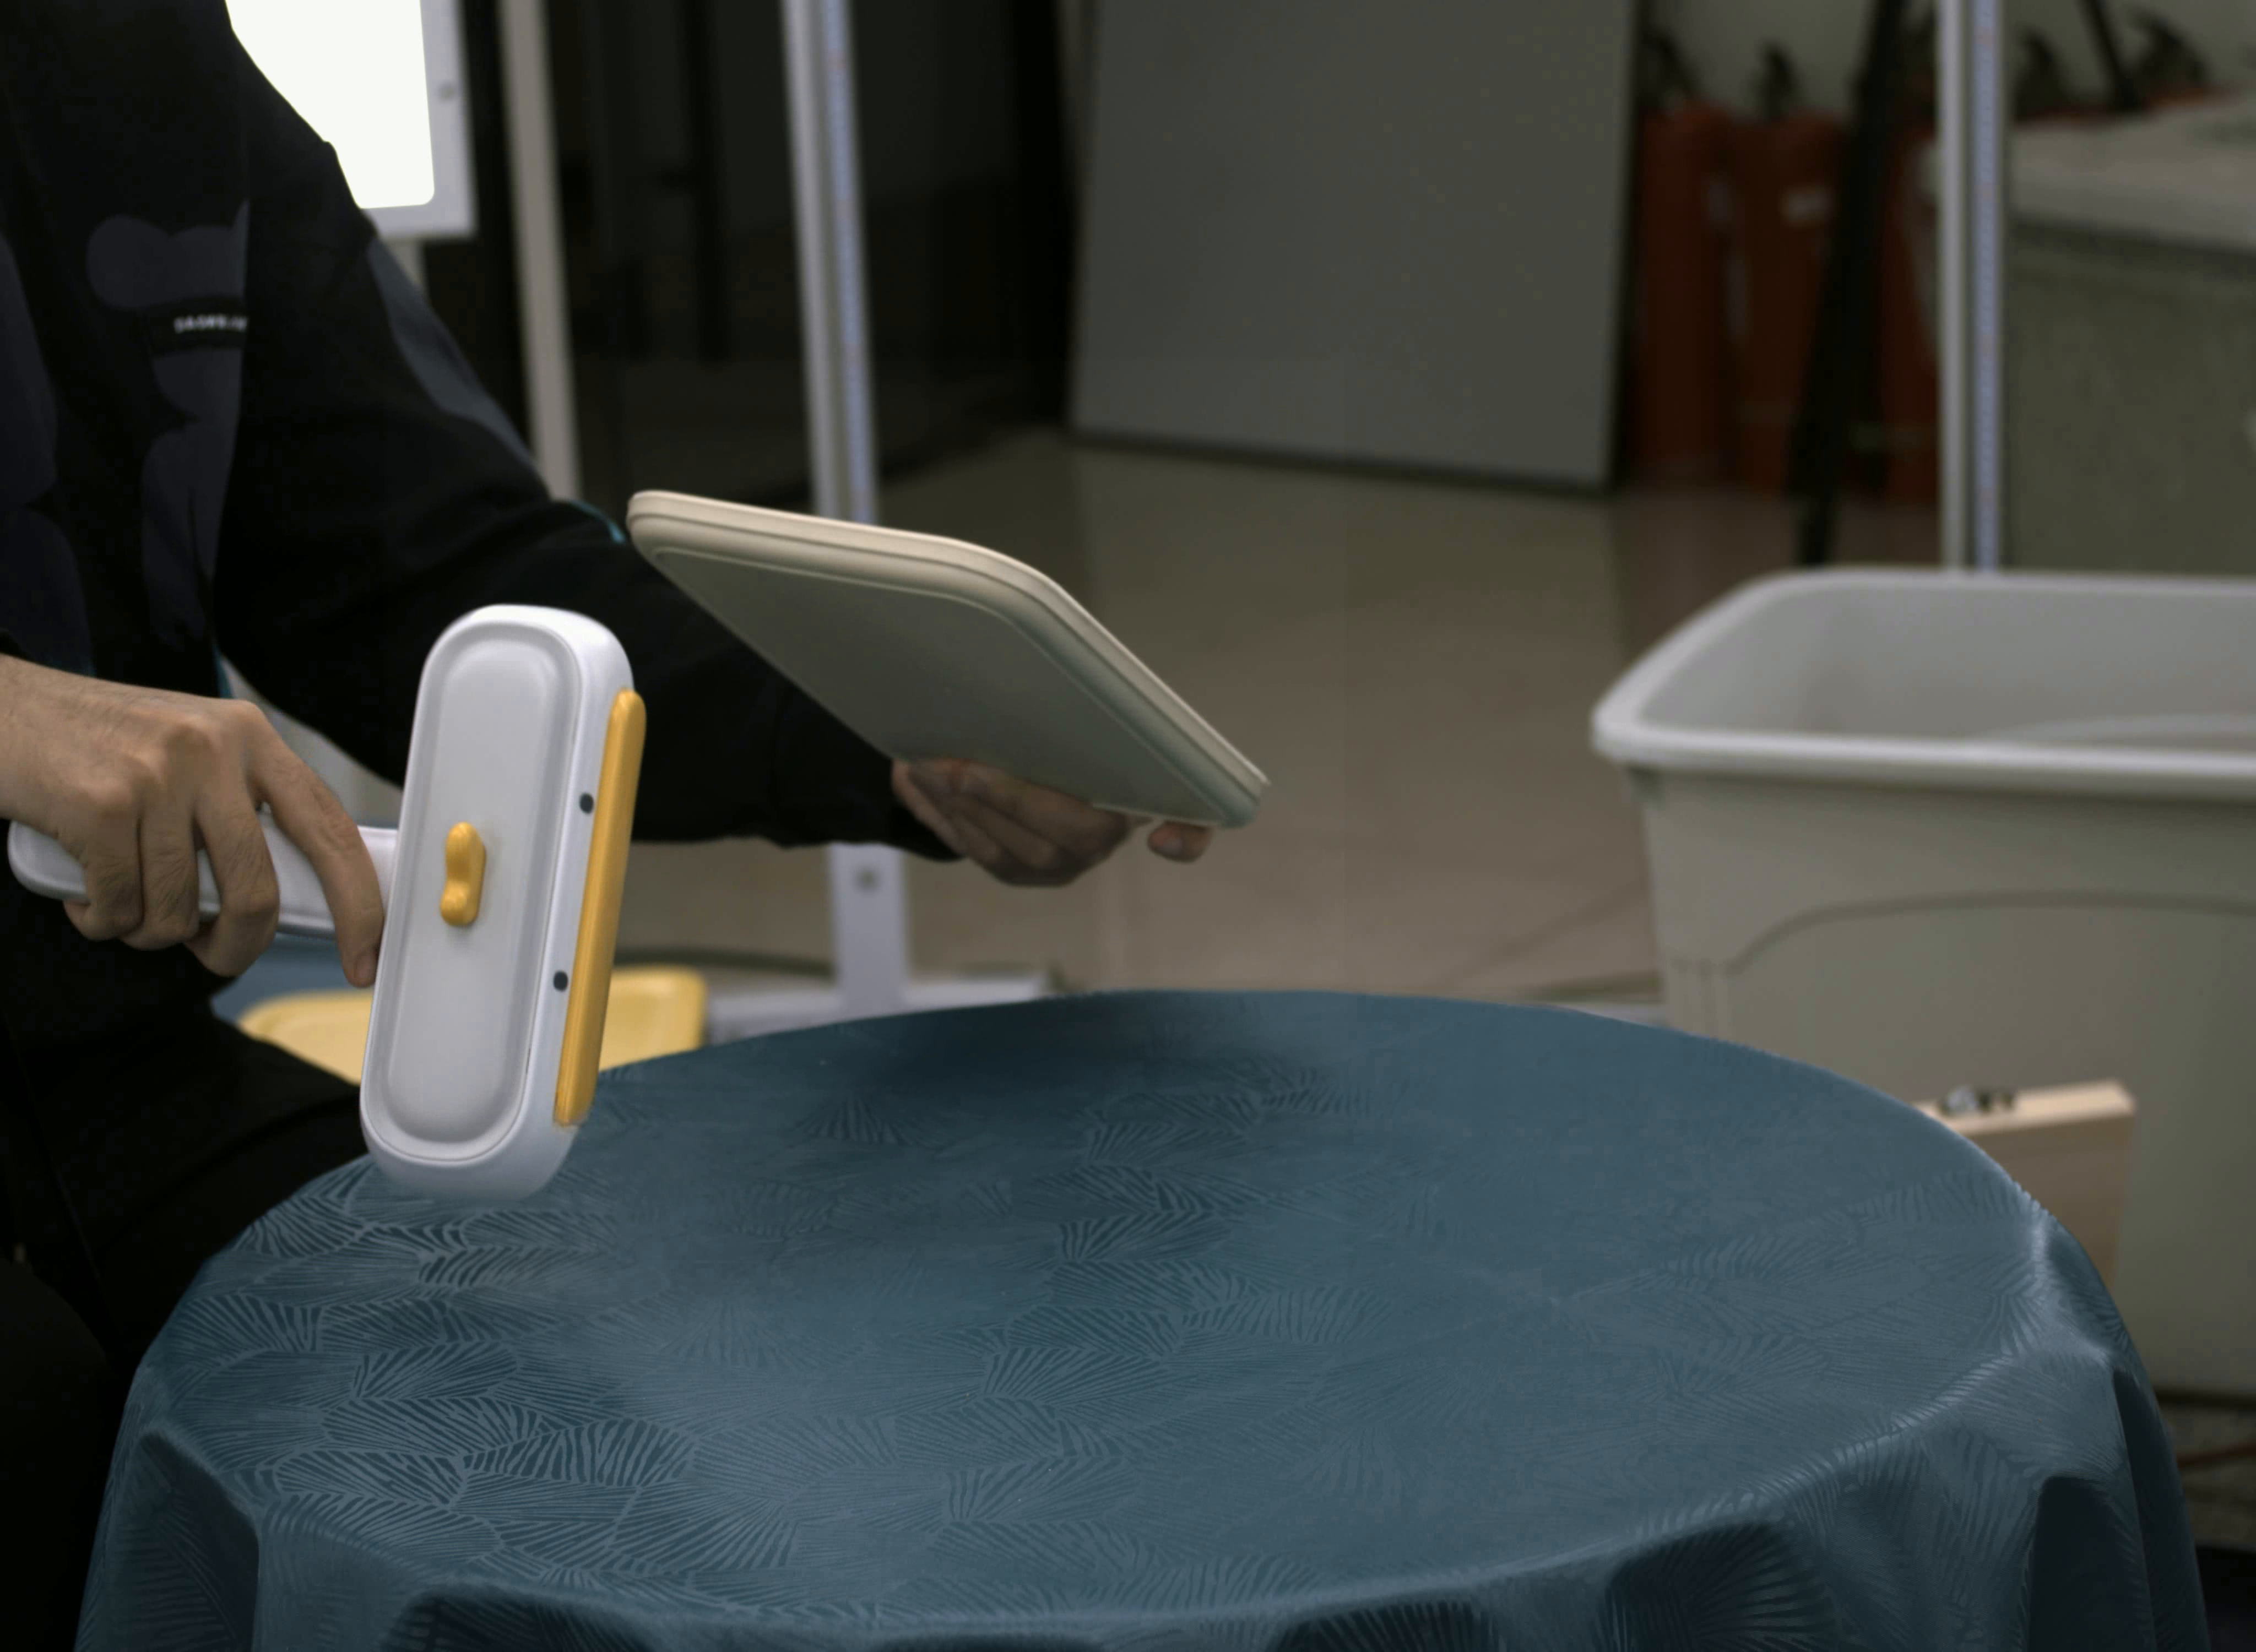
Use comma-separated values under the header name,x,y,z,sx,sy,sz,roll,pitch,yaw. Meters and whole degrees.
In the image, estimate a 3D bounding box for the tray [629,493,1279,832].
name,x,y,z,sx,sy,sz,roll,pitch,yaw
tray,-0.059,-0.052,1.871,0.172,0.017,0.236,9,-17,30

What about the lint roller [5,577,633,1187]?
name,x,y,z,sx,sy,sz,roll,pitch,yaw
lint roller,-0.254,0.014,1.710,0.190,0.195,0.074,1,-8,6
